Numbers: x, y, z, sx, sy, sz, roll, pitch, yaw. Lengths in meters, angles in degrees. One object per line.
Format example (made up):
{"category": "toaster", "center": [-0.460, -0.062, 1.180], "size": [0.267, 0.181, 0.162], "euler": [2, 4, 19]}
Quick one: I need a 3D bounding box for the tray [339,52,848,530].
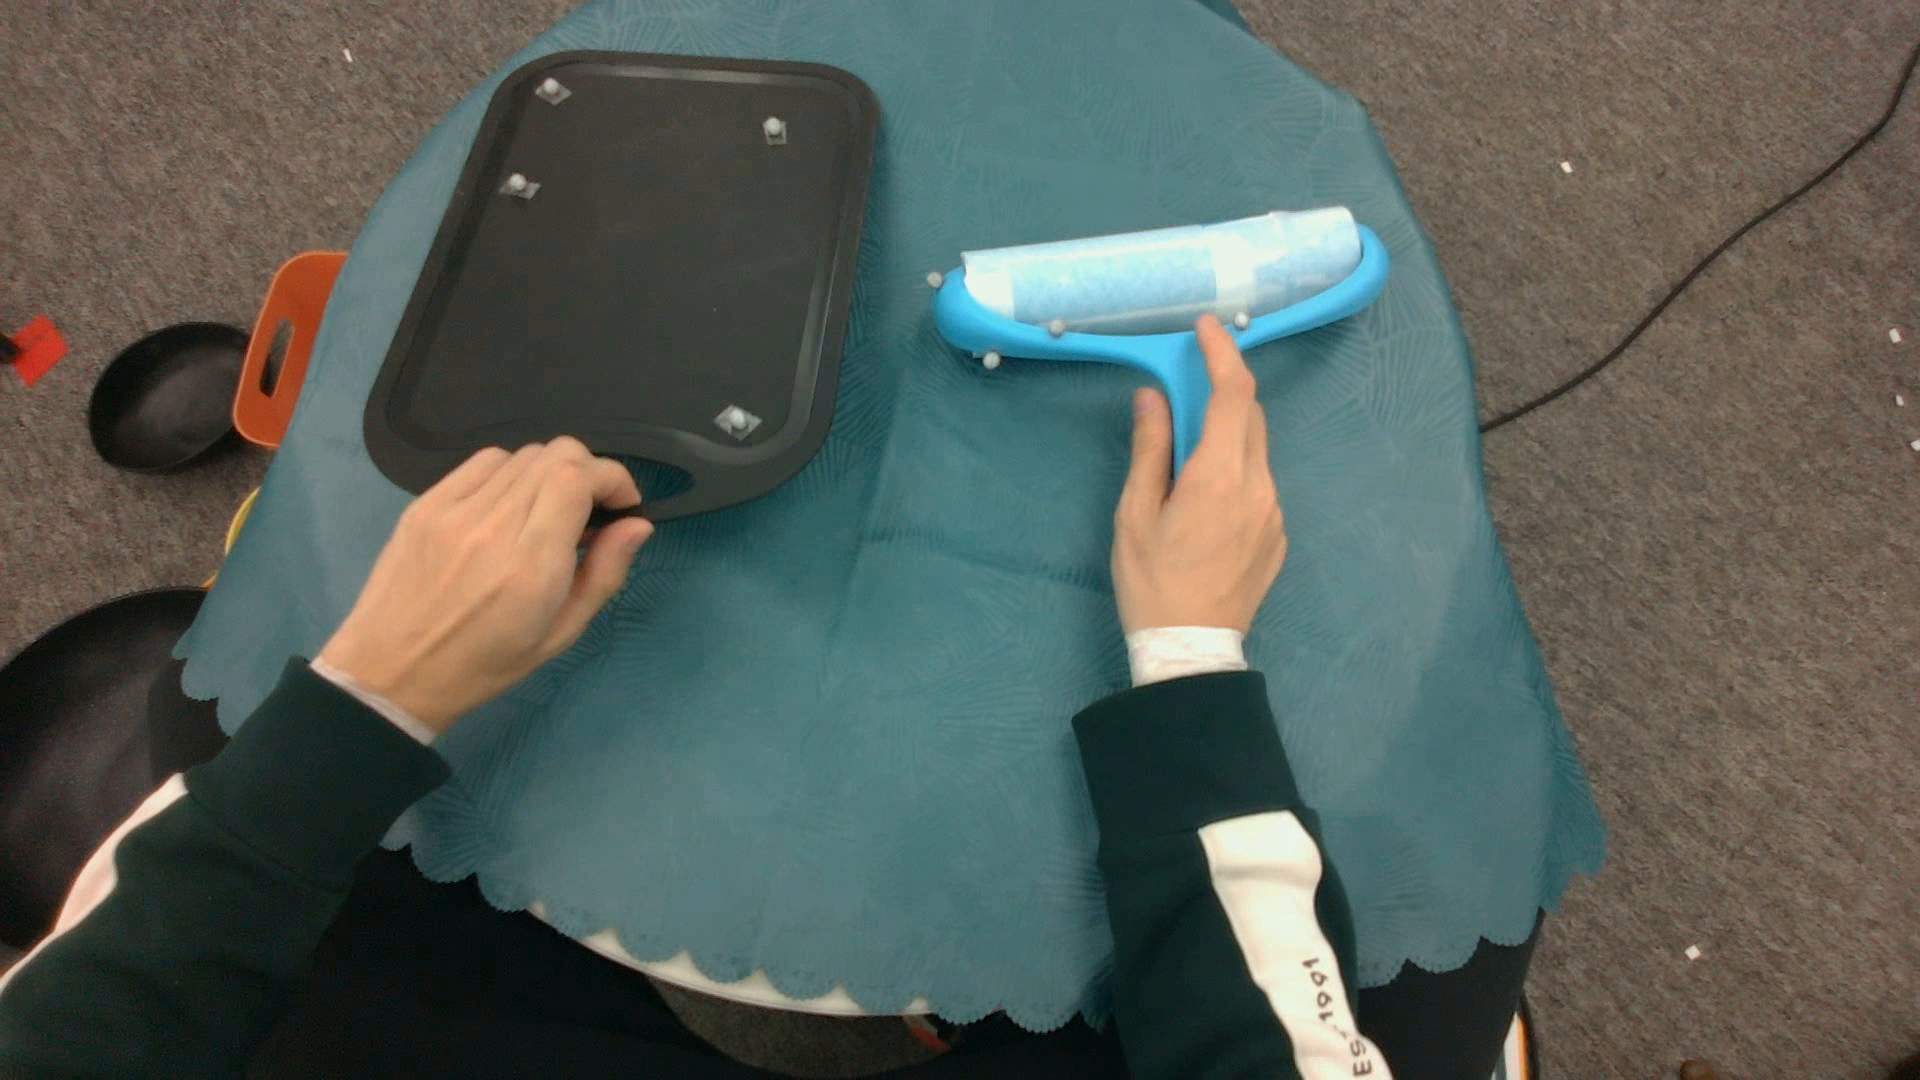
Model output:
{"category": "tray", "center": [-0.168, -0.138, 0.670], "size": [0.211, 0.010, 0.327], "euler": [2, 55, 2]}

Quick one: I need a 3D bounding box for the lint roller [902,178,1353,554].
{"category": "lint roller", "center": [0.096, -0.087, 0.674], "size": [0.229, 0.067, 0.180], "euler": [-11, 70, -5]}
